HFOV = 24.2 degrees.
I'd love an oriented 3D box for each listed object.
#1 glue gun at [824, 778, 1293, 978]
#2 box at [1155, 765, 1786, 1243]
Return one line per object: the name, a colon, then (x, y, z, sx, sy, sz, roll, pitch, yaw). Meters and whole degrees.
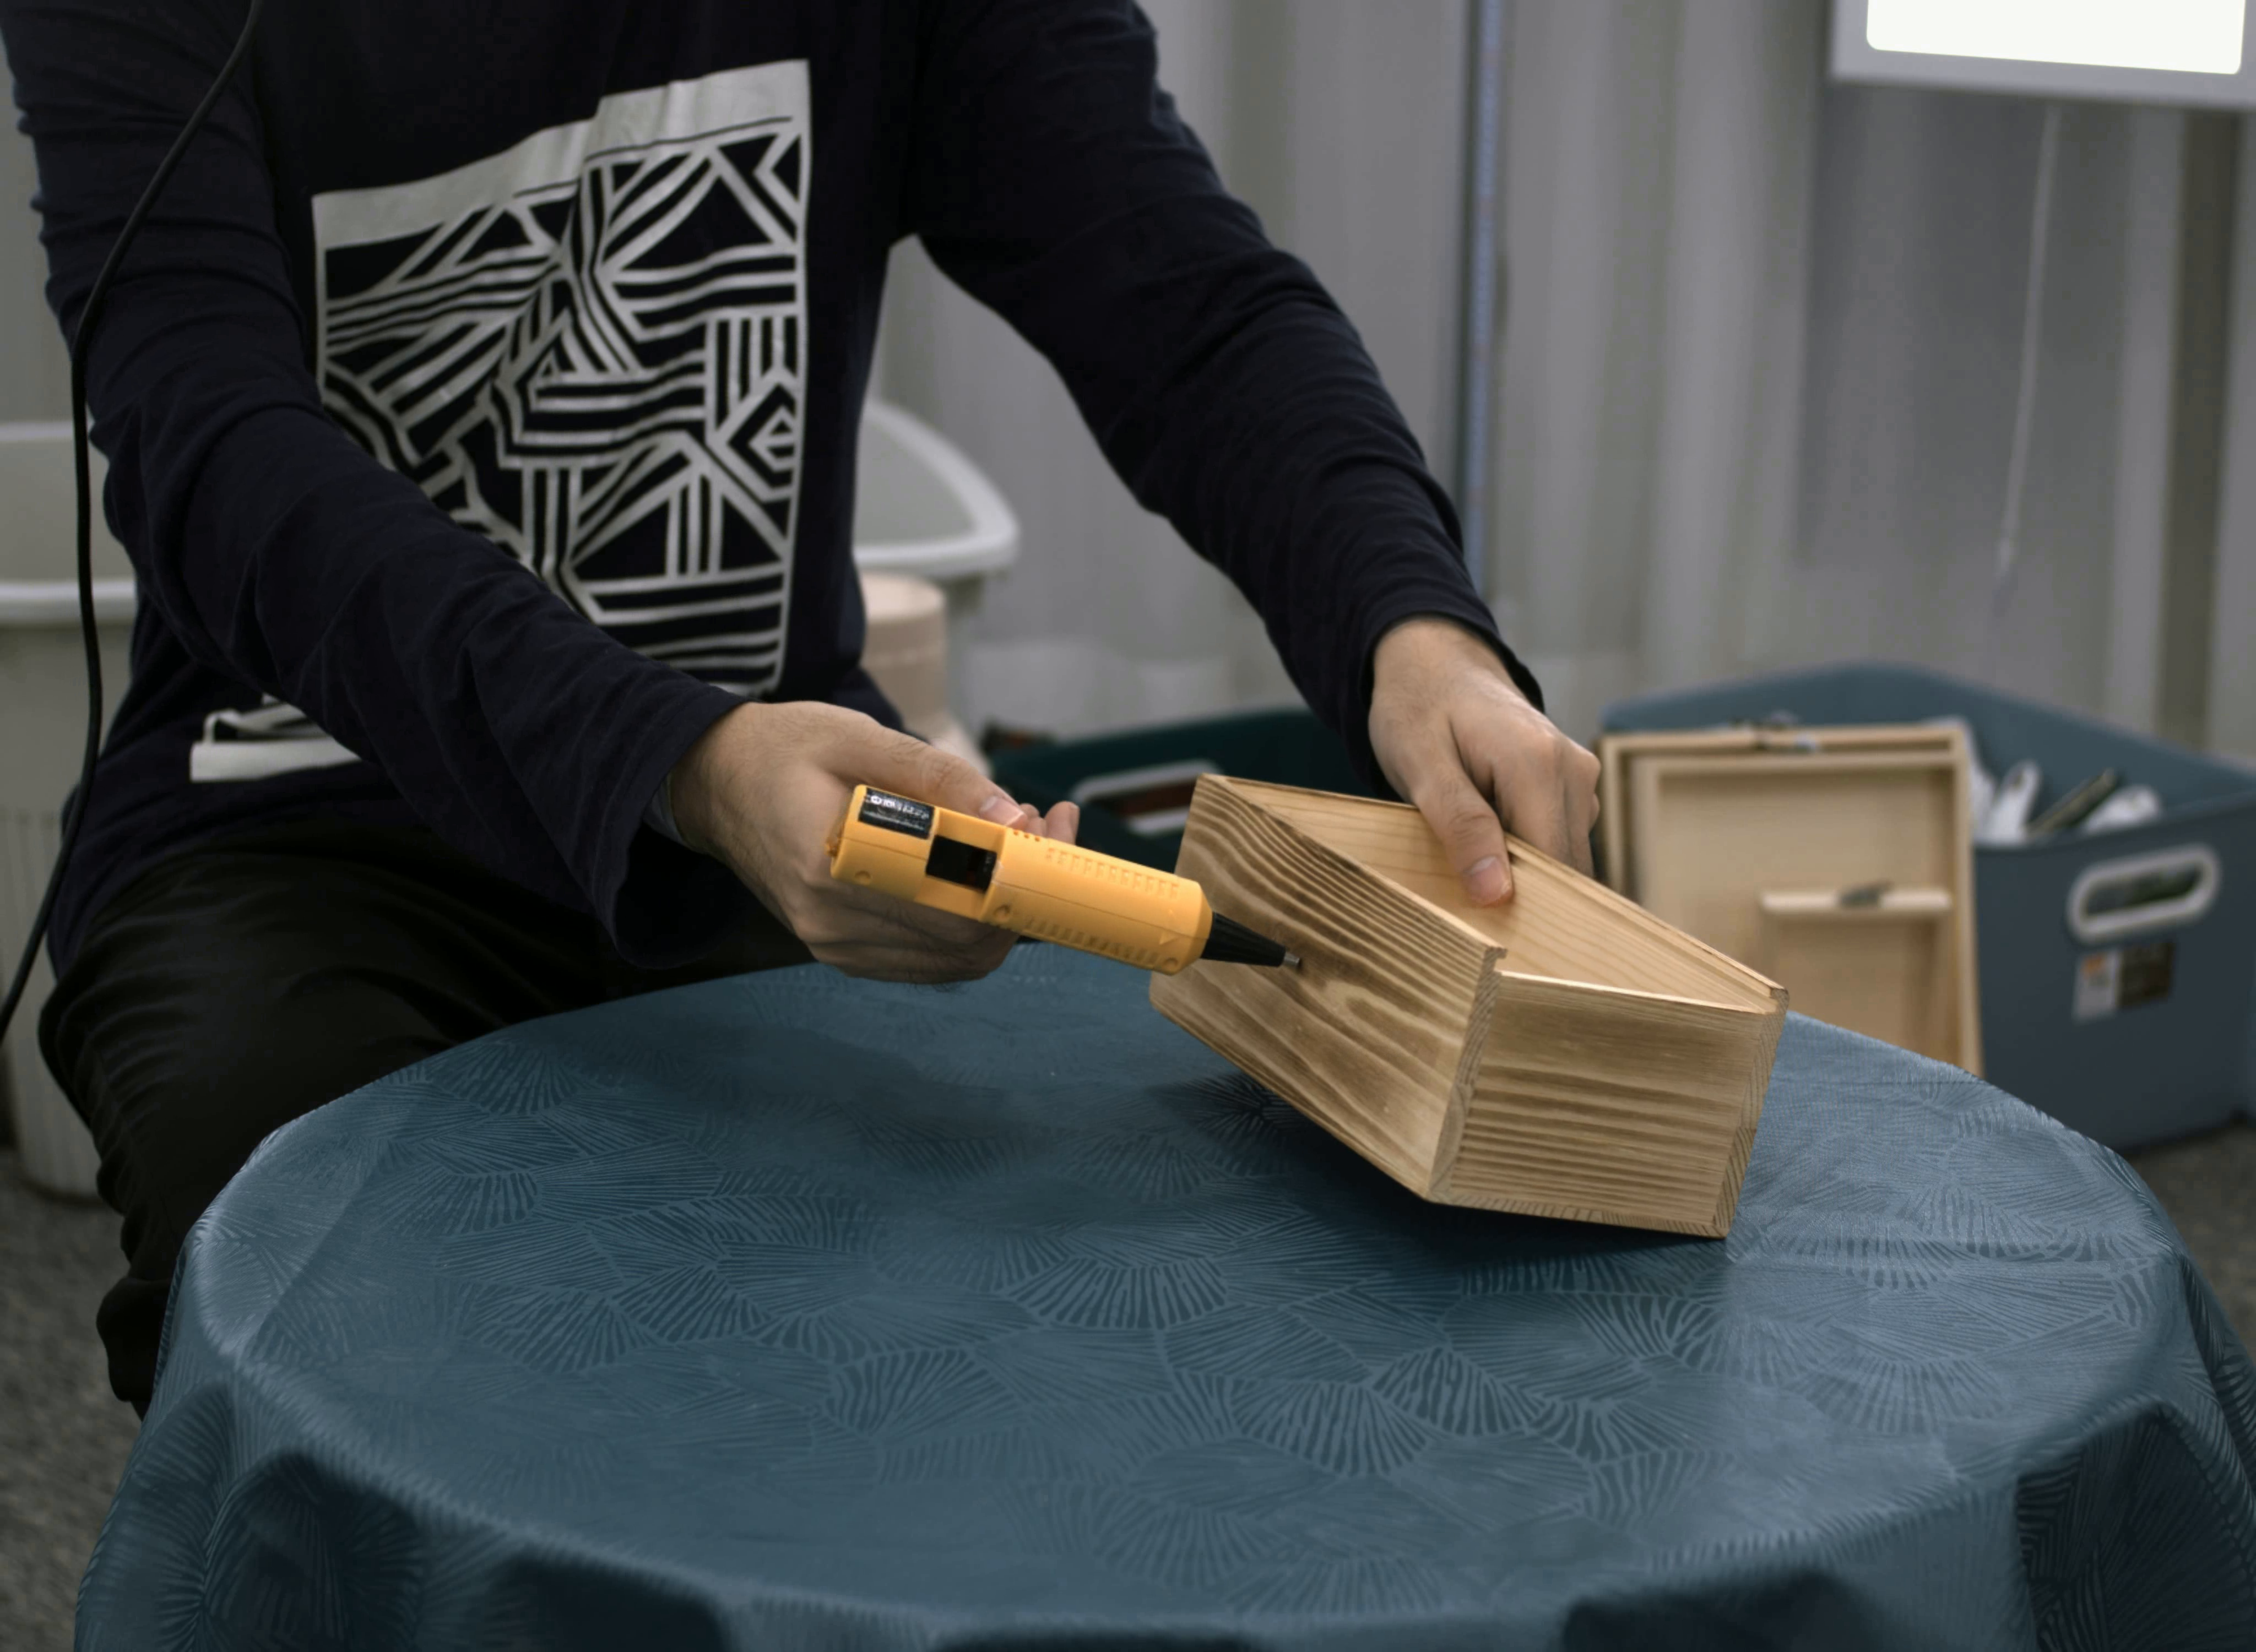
glue gun: (-0.022, 0.020, 1.666, 0.151, 0.031, 0.133, 18, 1, -4)
box: (0.103, 0.053, 1.652, 0.108, 0.080, 0.209, 10, 12, -26)
